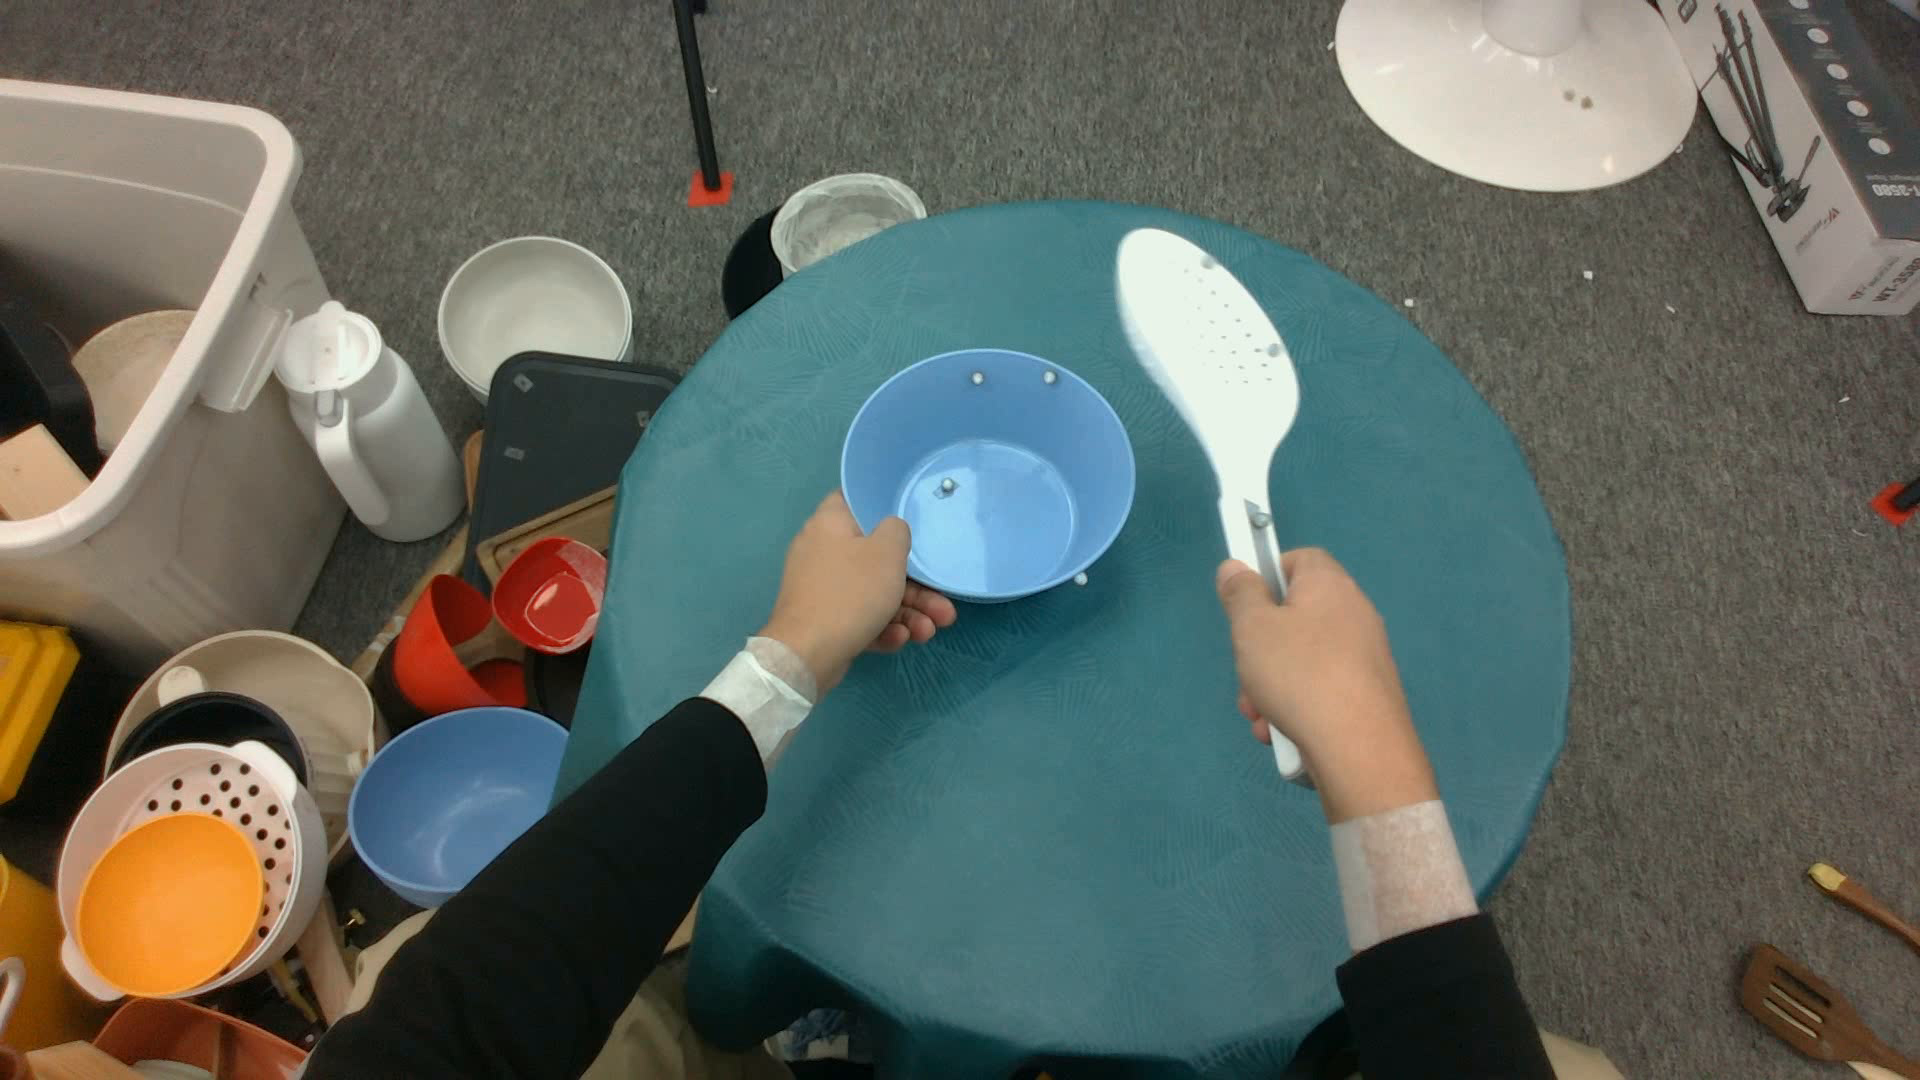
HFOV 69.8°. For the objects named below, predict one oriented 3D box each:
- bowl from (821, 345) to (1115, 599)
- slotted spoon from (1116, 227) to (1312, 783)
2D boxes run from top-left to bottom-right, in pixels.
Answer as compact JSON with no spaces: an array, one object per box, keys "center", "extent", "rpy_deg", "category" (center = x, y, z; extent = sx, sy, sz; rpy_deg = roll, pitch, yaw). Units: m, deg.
[{"center":[0.004,-0.031,0.845],"extent":[0.176,0.070,0.177],"rpy_deg":[1,60,-1],"category":"bowl"},{"center":[0.141,-0.033,0.727],"extent":[0.136,0.045,0.351],"rpy_deg":[25,41,-32],"category":"slotted spoon"}]
